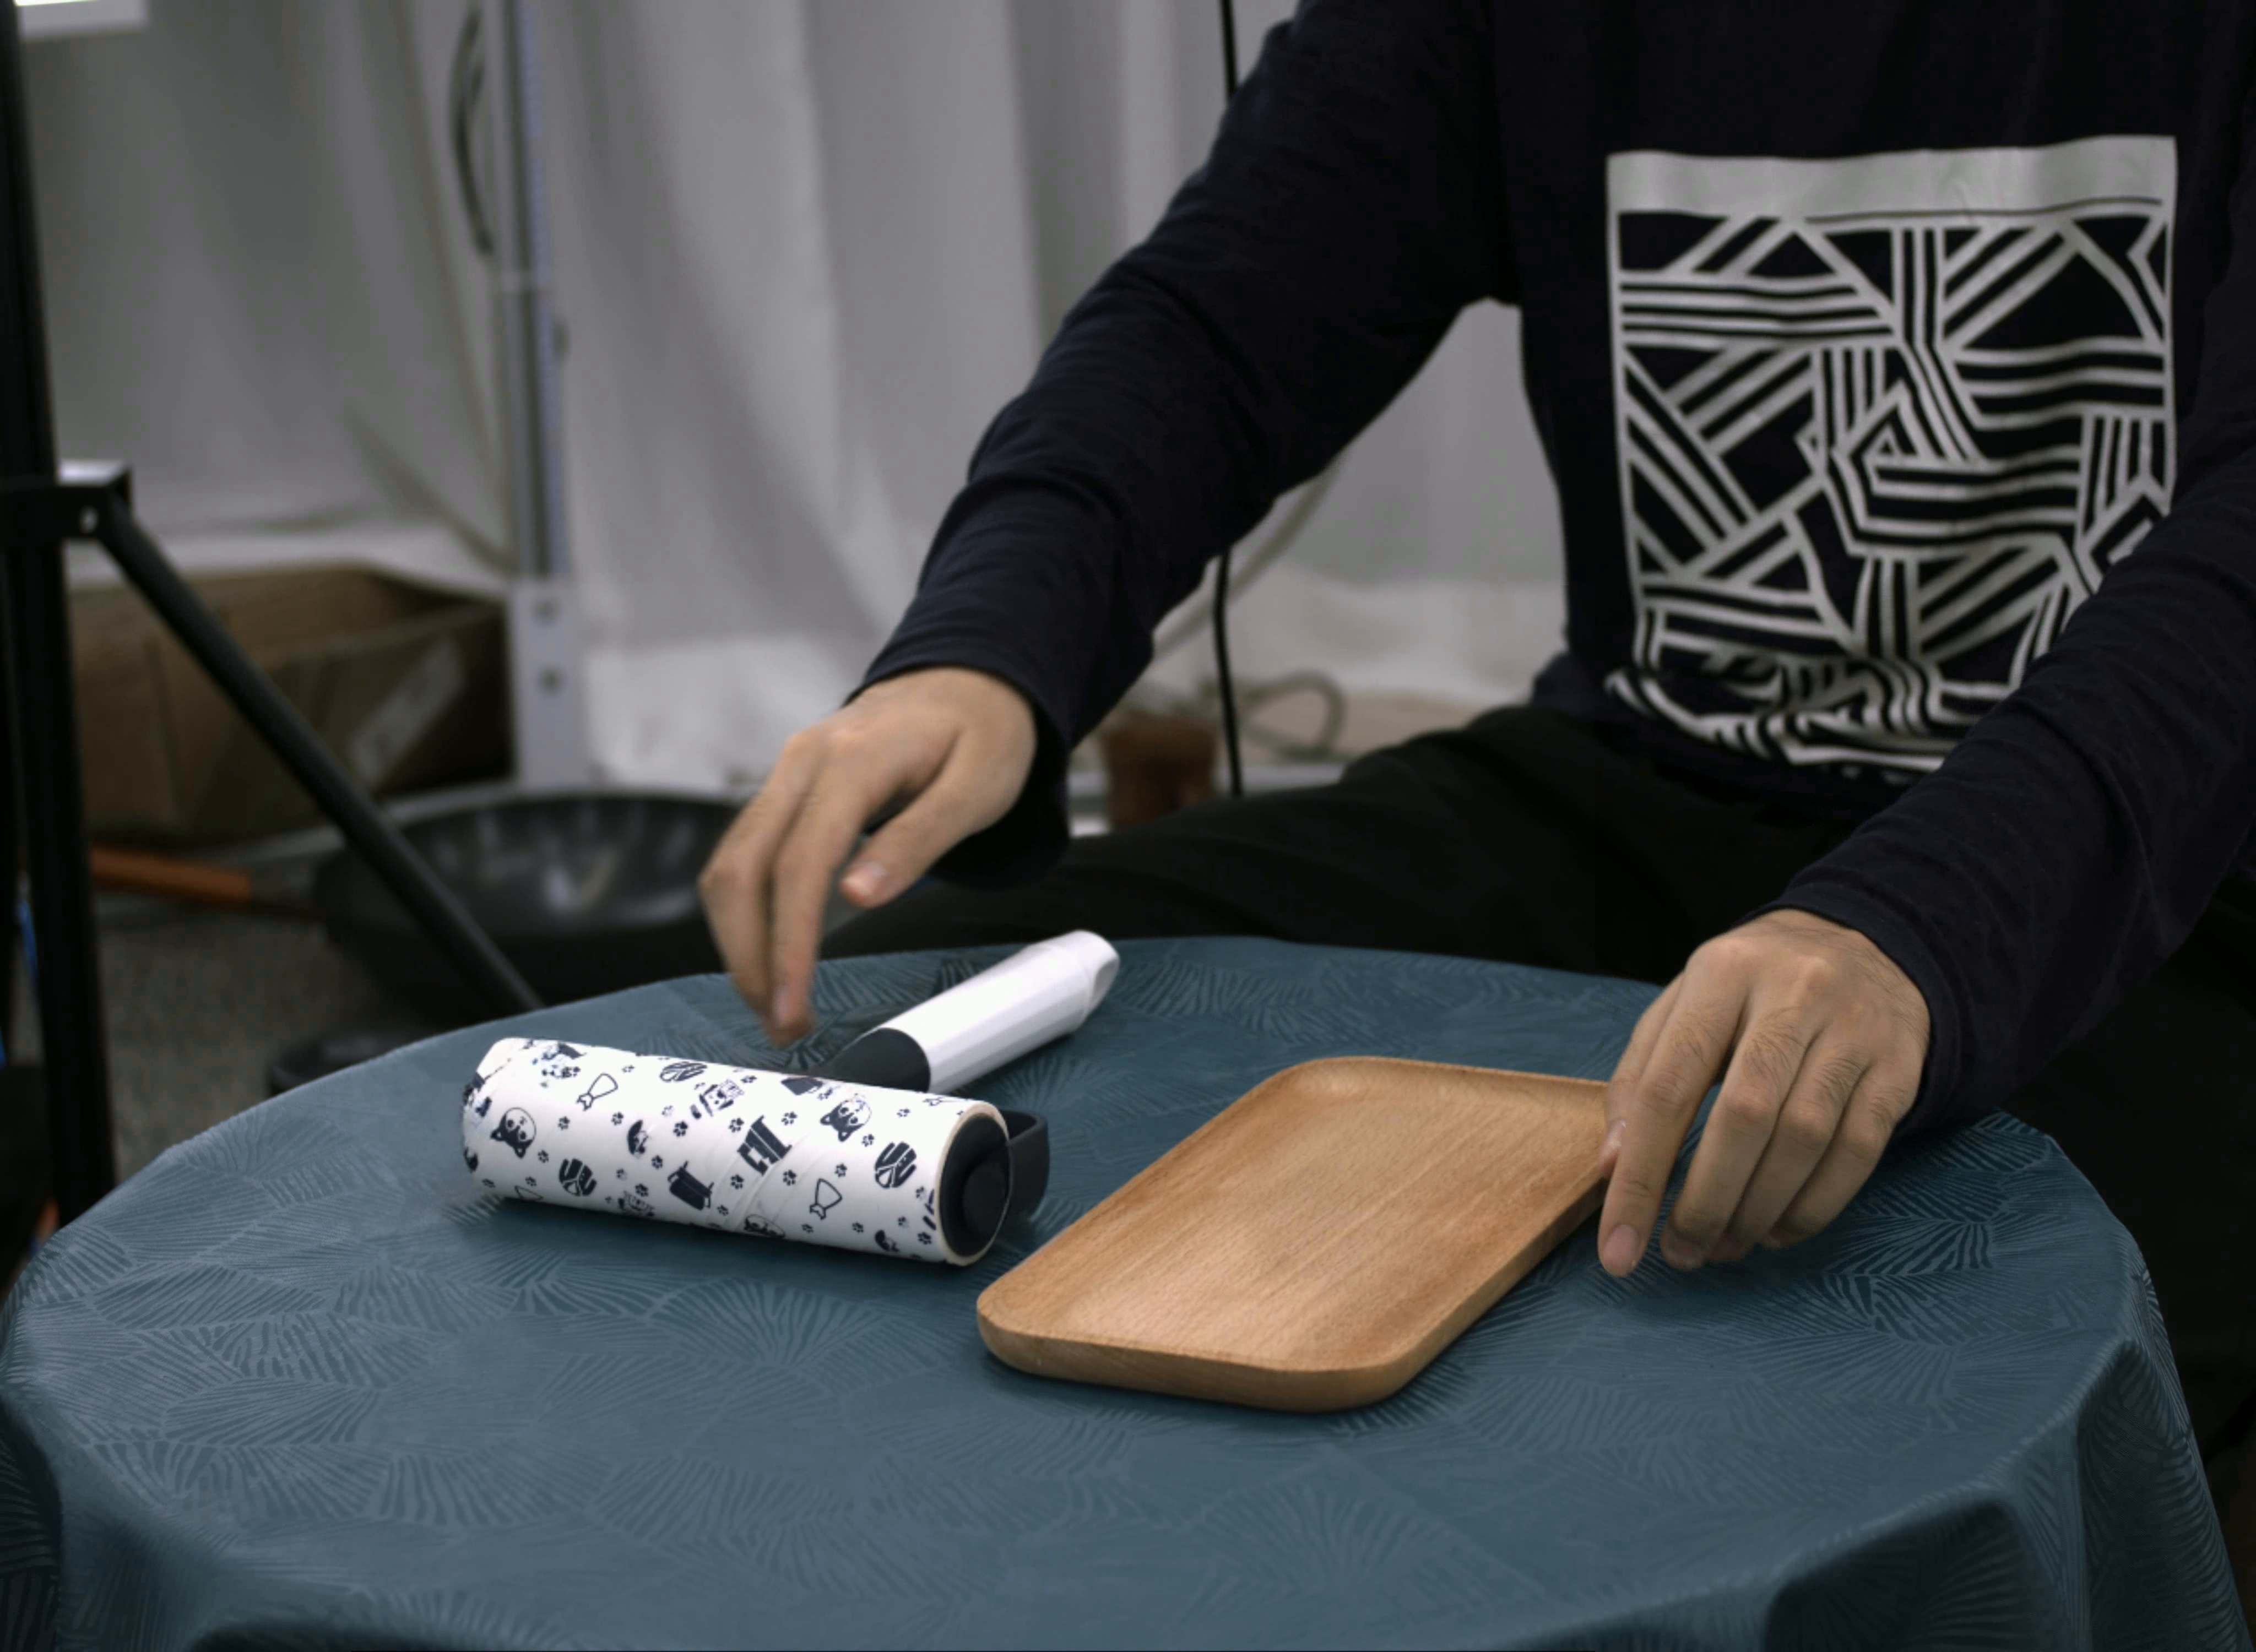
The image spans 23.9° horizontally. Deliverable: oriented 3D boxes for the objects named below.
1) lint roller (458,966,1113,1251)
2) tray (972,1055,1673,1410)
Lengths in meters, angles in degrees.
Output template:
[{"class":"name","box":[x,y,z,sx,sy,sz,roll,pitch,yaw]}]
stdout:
[{"class":"lint roller","box":[-0.069,0.072,1.630,0.179,0.050,0.243,5,14,27]},{"class":"tray","box":[0.060,0.113,1.507,0.132,0.023,0.246,9,18,26]}]
